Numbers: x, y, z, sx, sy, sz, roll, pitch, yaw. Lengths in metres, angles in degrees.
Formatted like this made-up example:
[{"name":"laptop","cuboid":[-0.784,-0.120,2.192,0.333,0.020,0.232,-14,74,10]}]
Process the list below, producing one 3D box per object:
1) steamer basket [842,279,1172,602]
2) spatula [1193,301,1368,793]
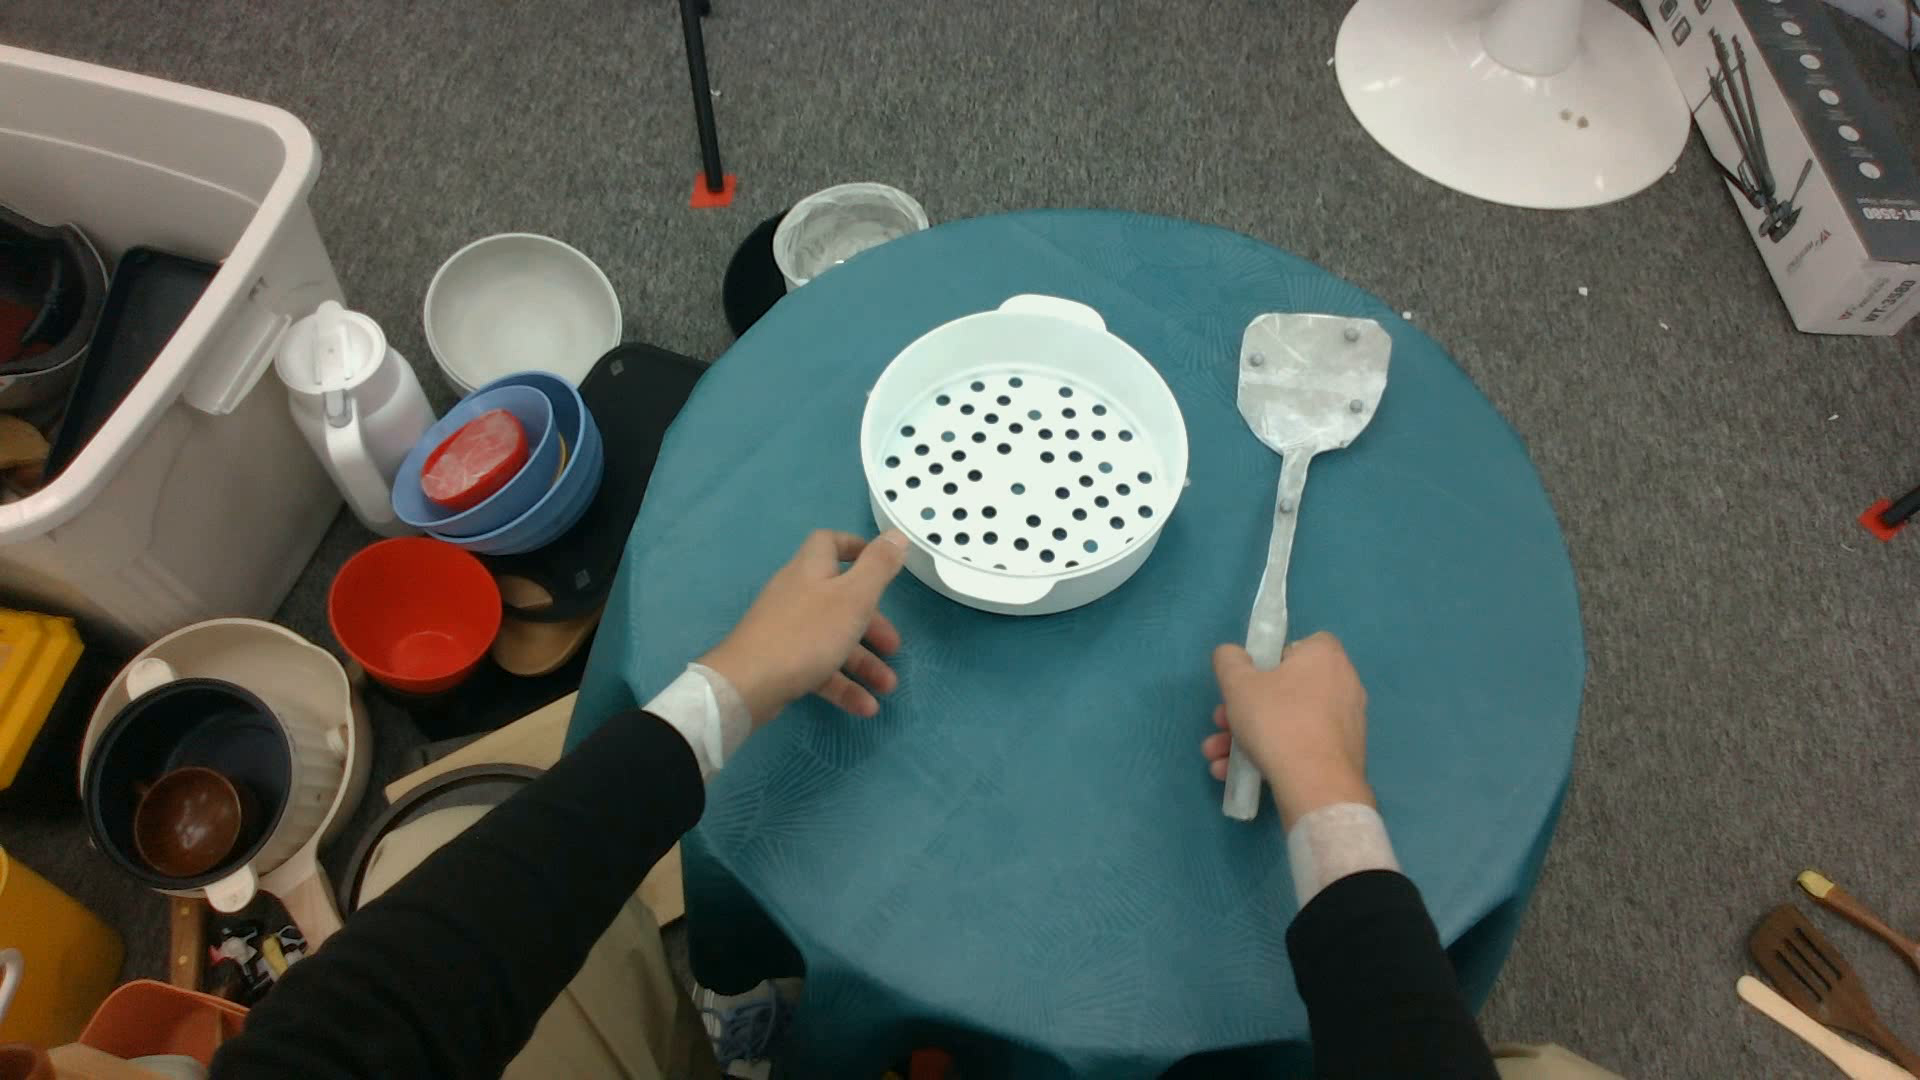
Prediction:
[{"name":"steamer basket","cuboid":[0.028,-0.057,0.867,0.202,0.069,0.231,12,61,4]},{"name":"spatula","cuboid":[0.186,-0.010,0.852,0.098,0.044,0.367,10,52,13]}]
